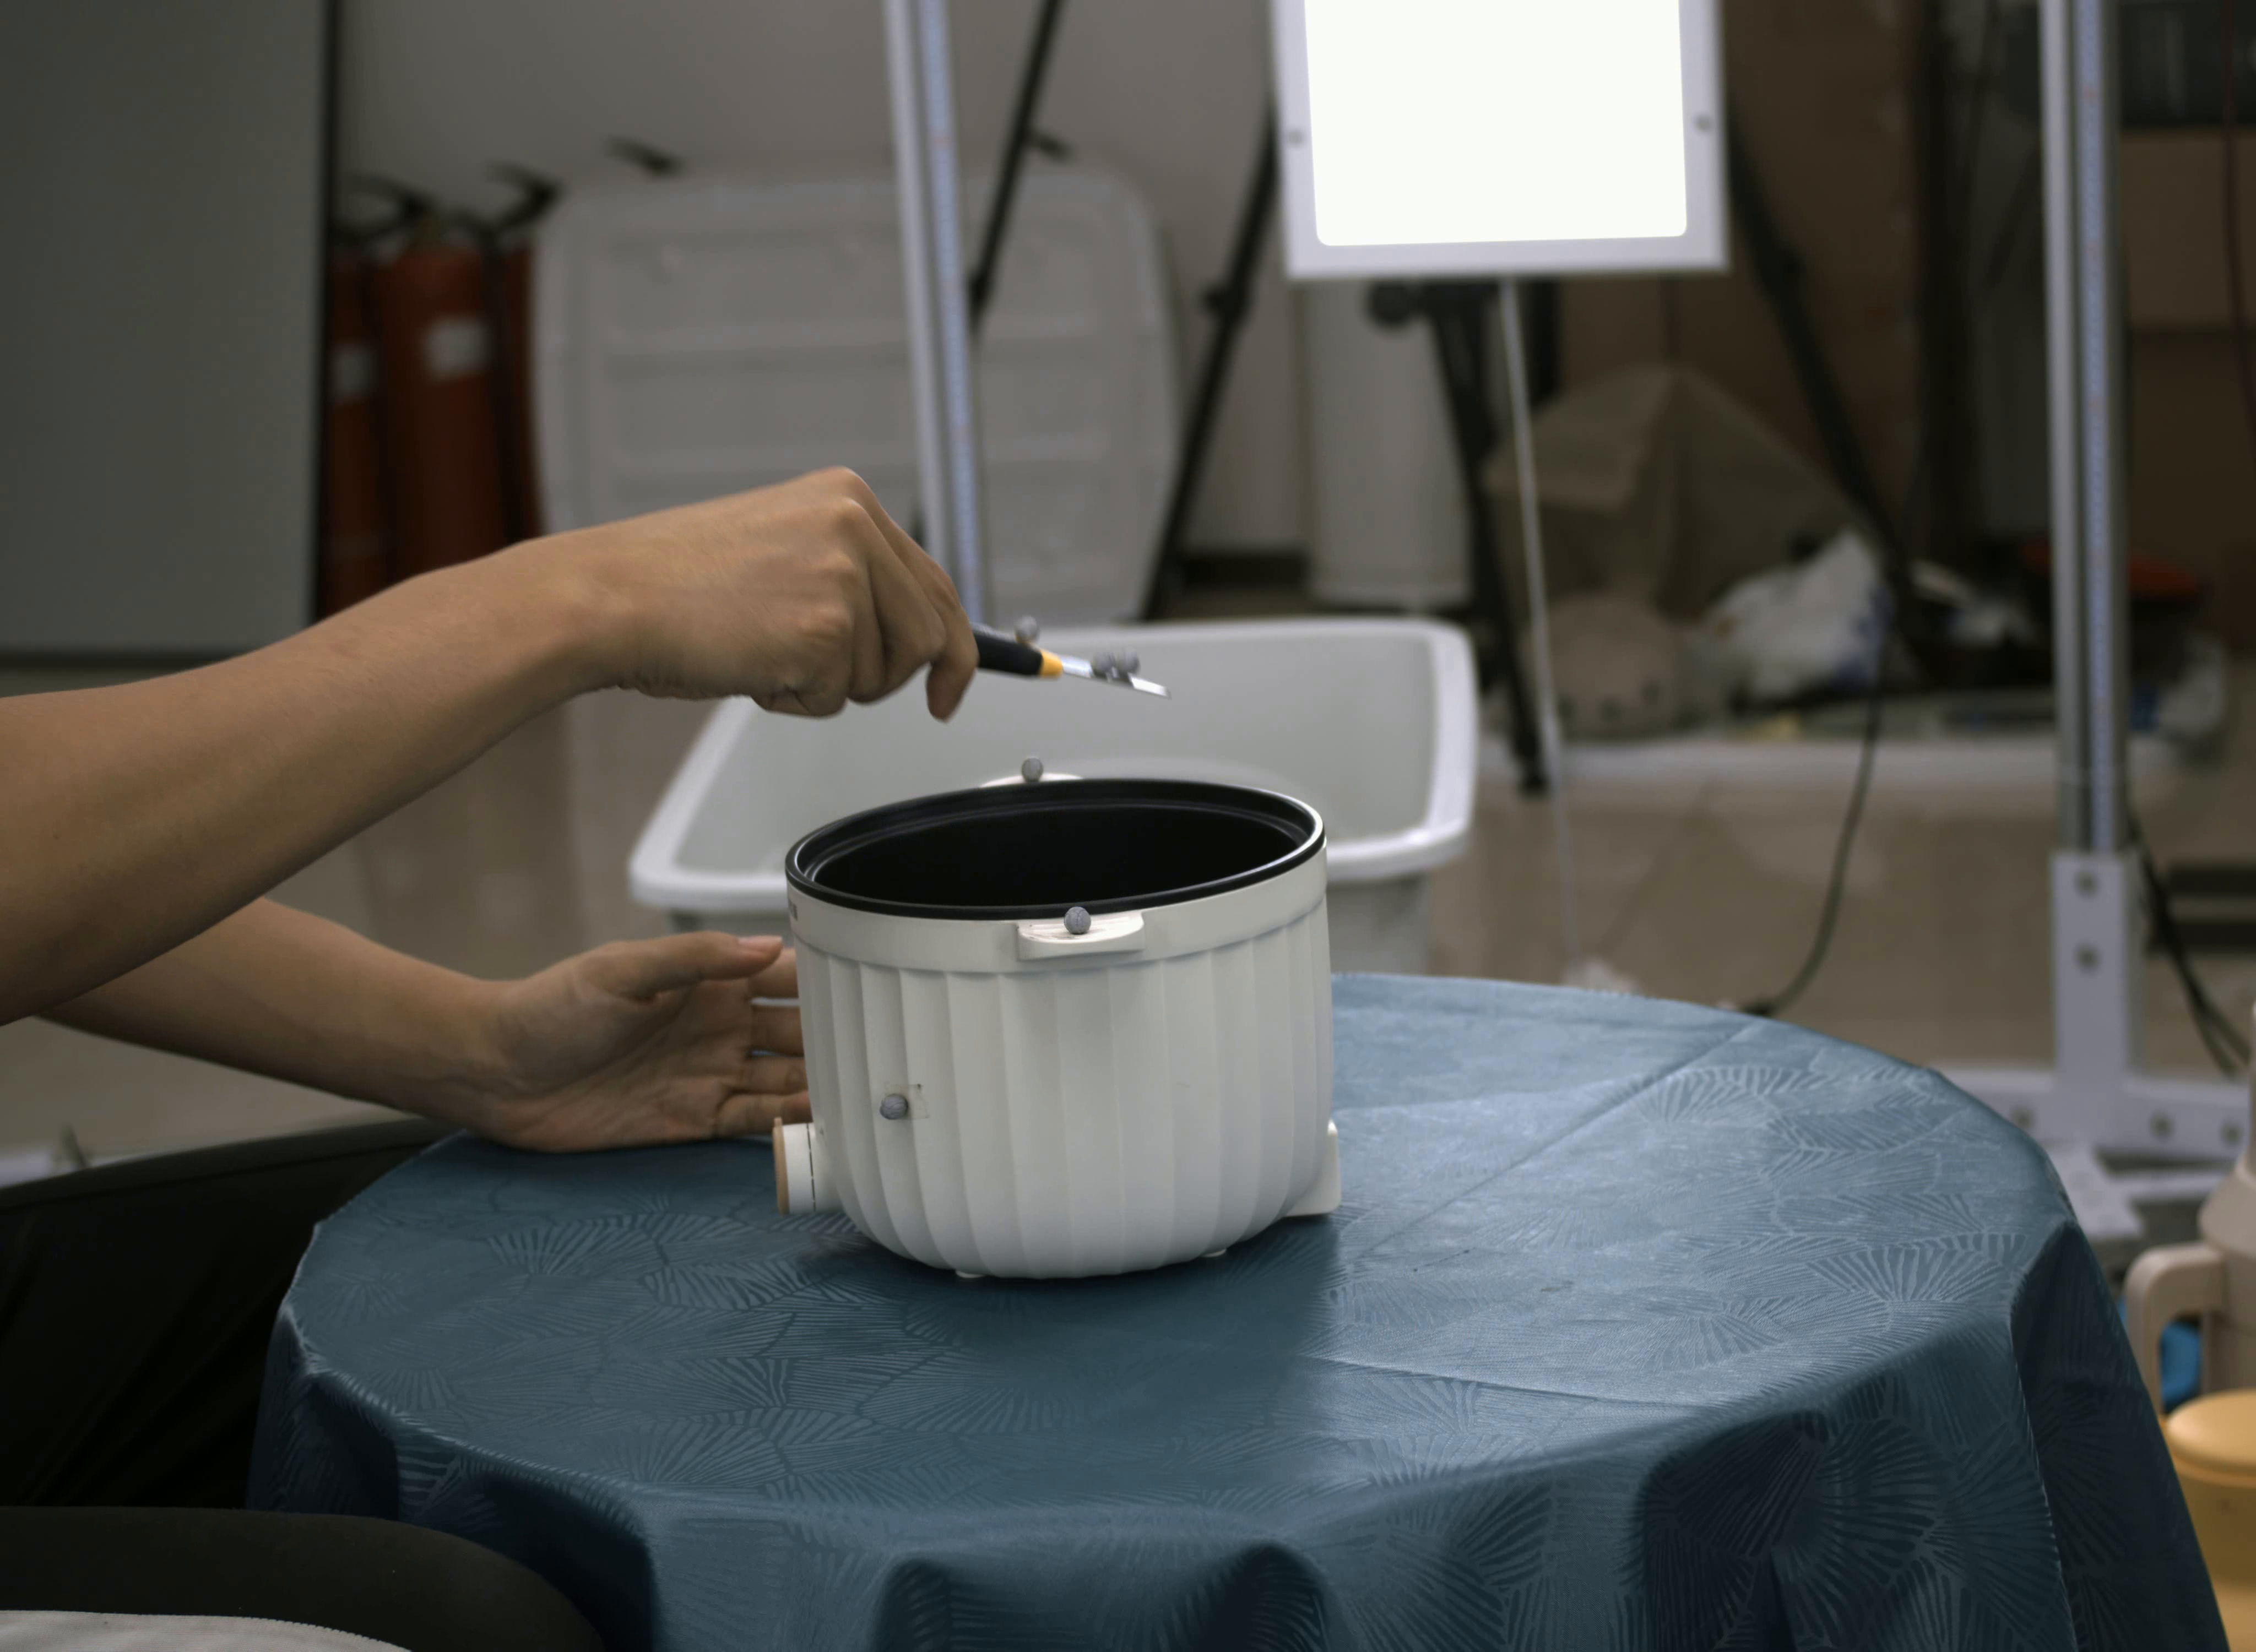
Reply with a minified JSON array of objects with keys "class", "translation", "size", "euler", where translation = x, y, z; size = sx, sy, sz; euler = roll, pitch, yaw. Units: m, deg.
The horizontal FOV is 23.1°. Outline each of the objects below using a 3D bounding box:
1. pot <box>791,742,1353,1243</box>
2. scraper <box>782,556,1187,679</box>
[{"class":"pot","translation":[-0.019,0.059,1.861],"size":[0.189,0.143,0.241],"euler":[-2,12,-5]},{"class":"scraper","translation":[-0.047,-0.067,1.803],"size":[0.167,0.015,0.039],"euler":[11,14,-45]}]
